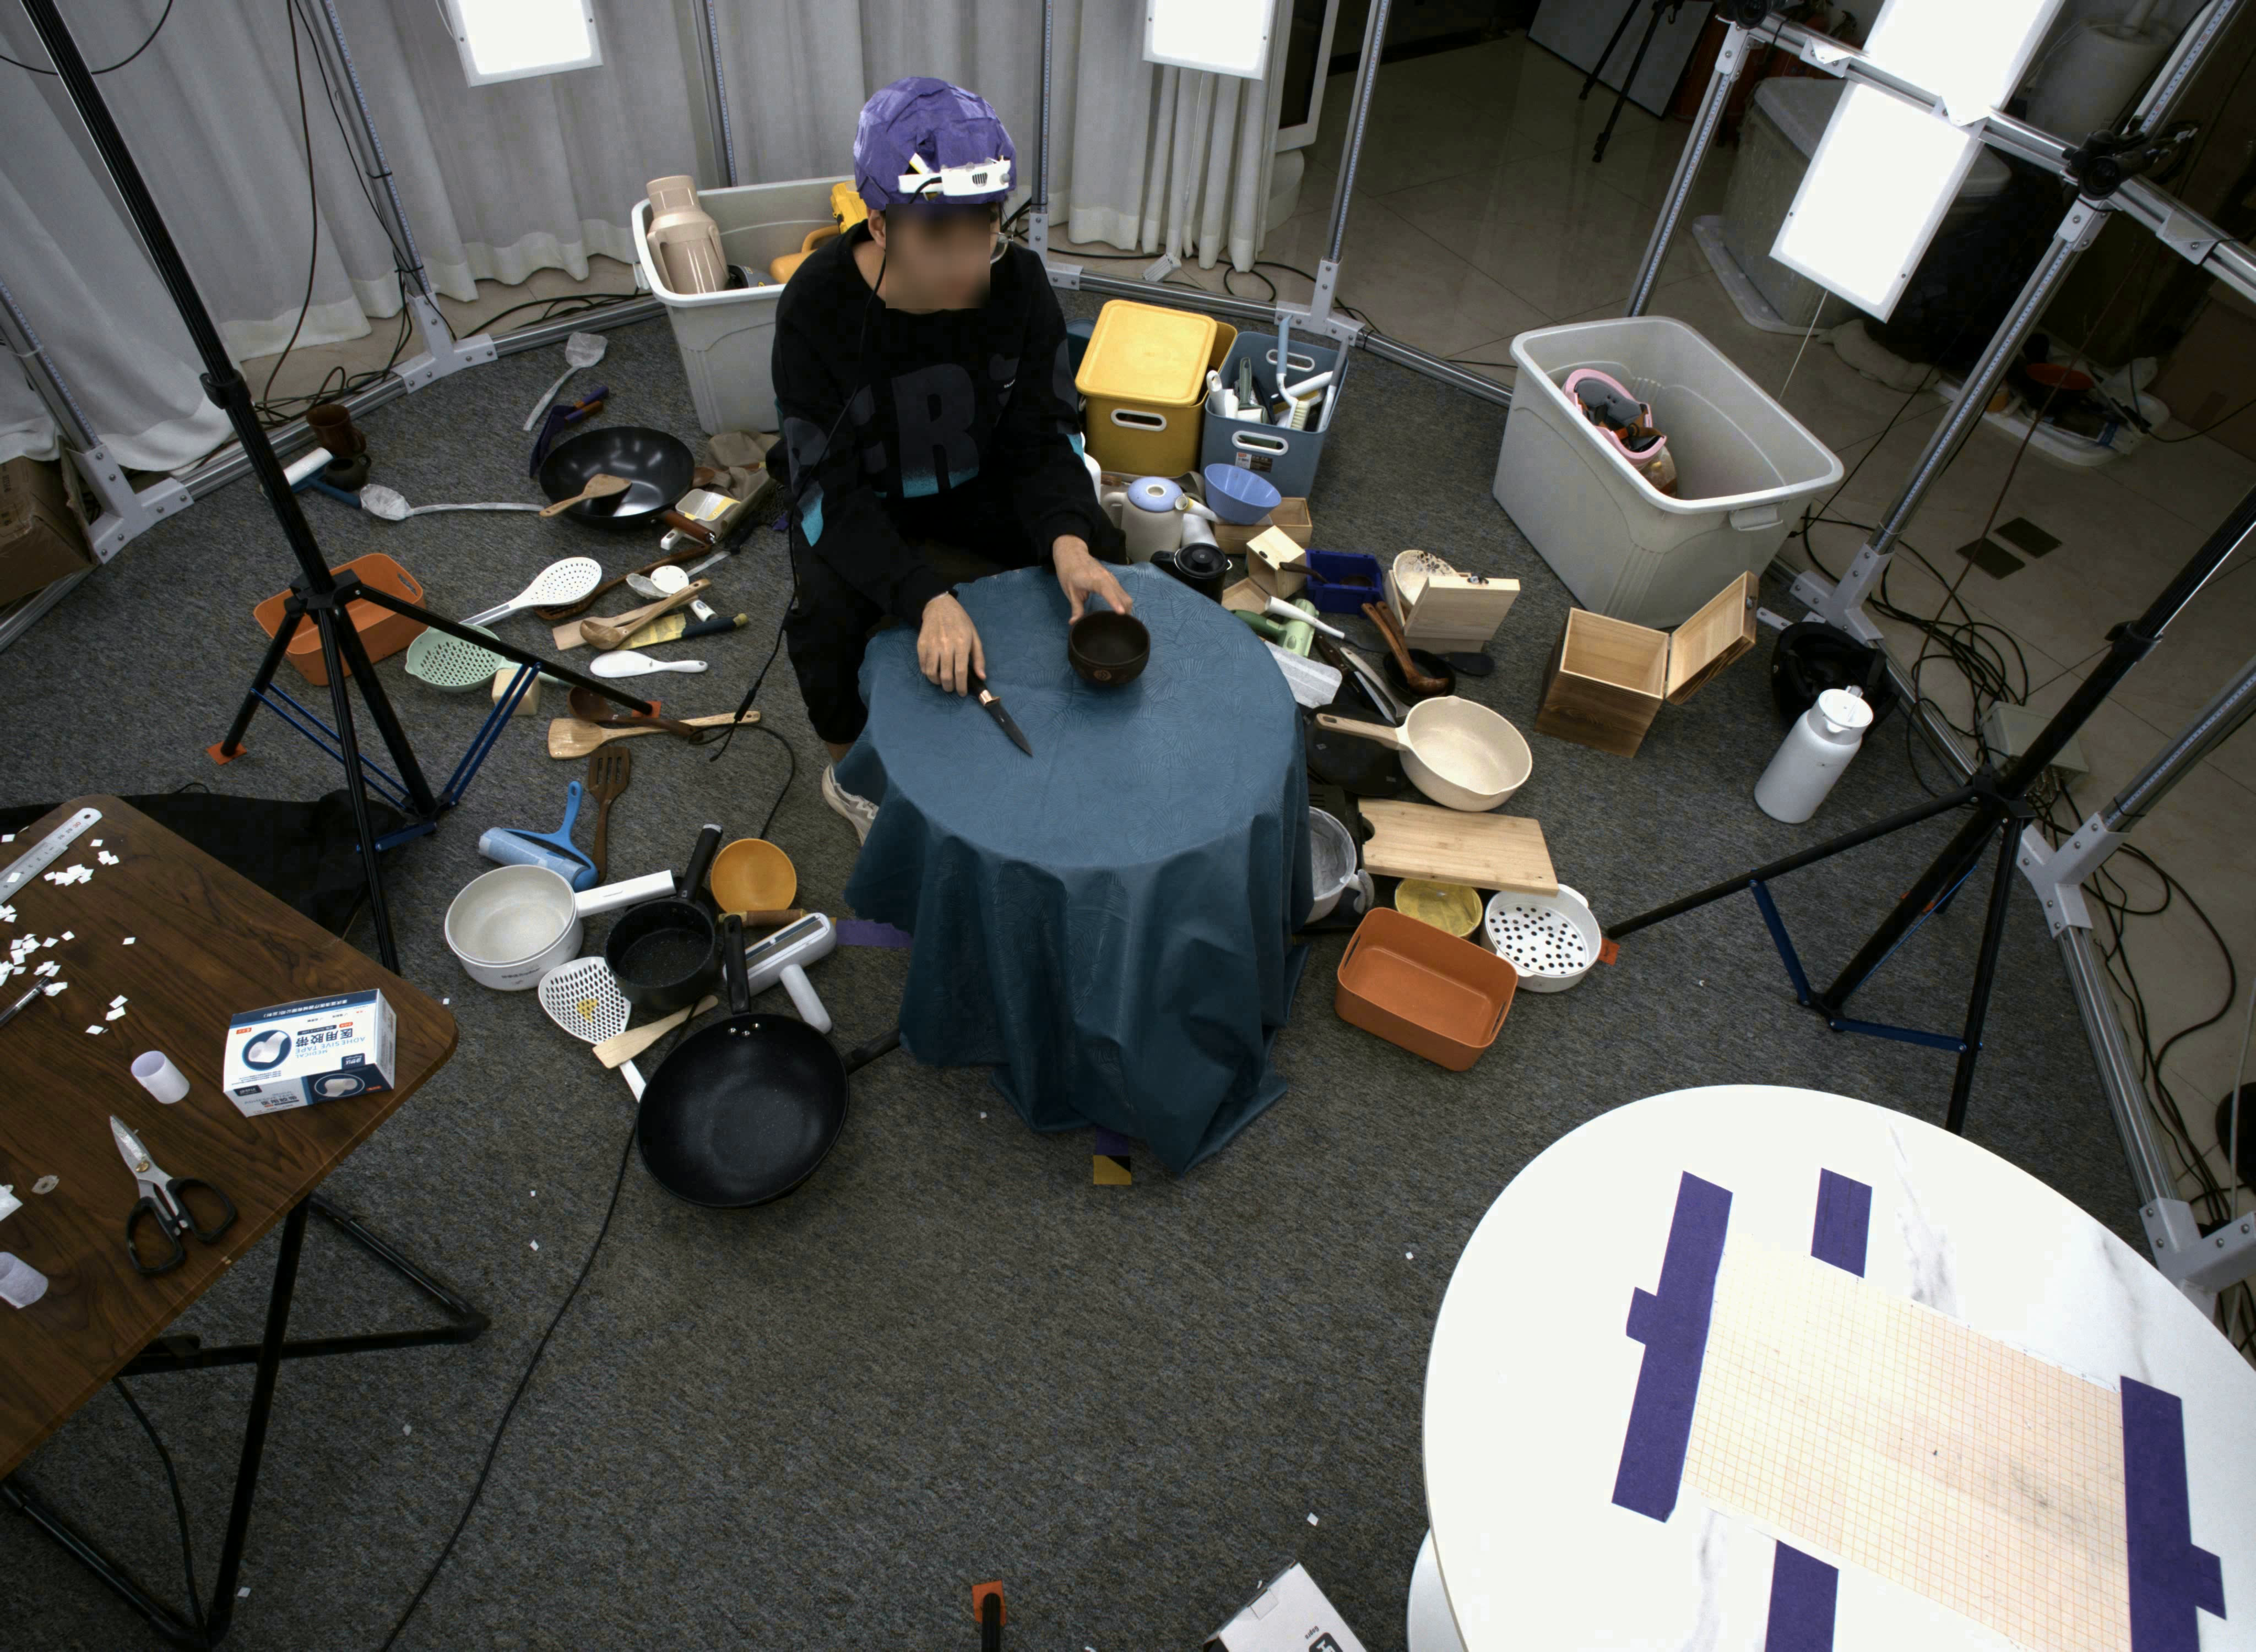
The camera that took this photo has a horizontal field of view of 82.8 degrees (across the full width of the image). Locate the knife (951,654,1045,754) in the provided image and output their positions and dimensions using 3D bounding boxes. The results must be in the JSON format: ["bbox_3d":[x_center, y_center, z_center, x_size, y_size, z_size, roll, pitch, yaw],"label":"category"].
[{"bbox_3d":[-0.183,-0.171,1.797,0.026,0.017,0.230,-22,54,-29],"label":"knife"}]

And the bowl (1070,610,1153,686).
[{"bbox_3d":[-0.024,-0.245,1.831,0.118,0.068,0.121,3,47,-3],"label":"bowl"}]
